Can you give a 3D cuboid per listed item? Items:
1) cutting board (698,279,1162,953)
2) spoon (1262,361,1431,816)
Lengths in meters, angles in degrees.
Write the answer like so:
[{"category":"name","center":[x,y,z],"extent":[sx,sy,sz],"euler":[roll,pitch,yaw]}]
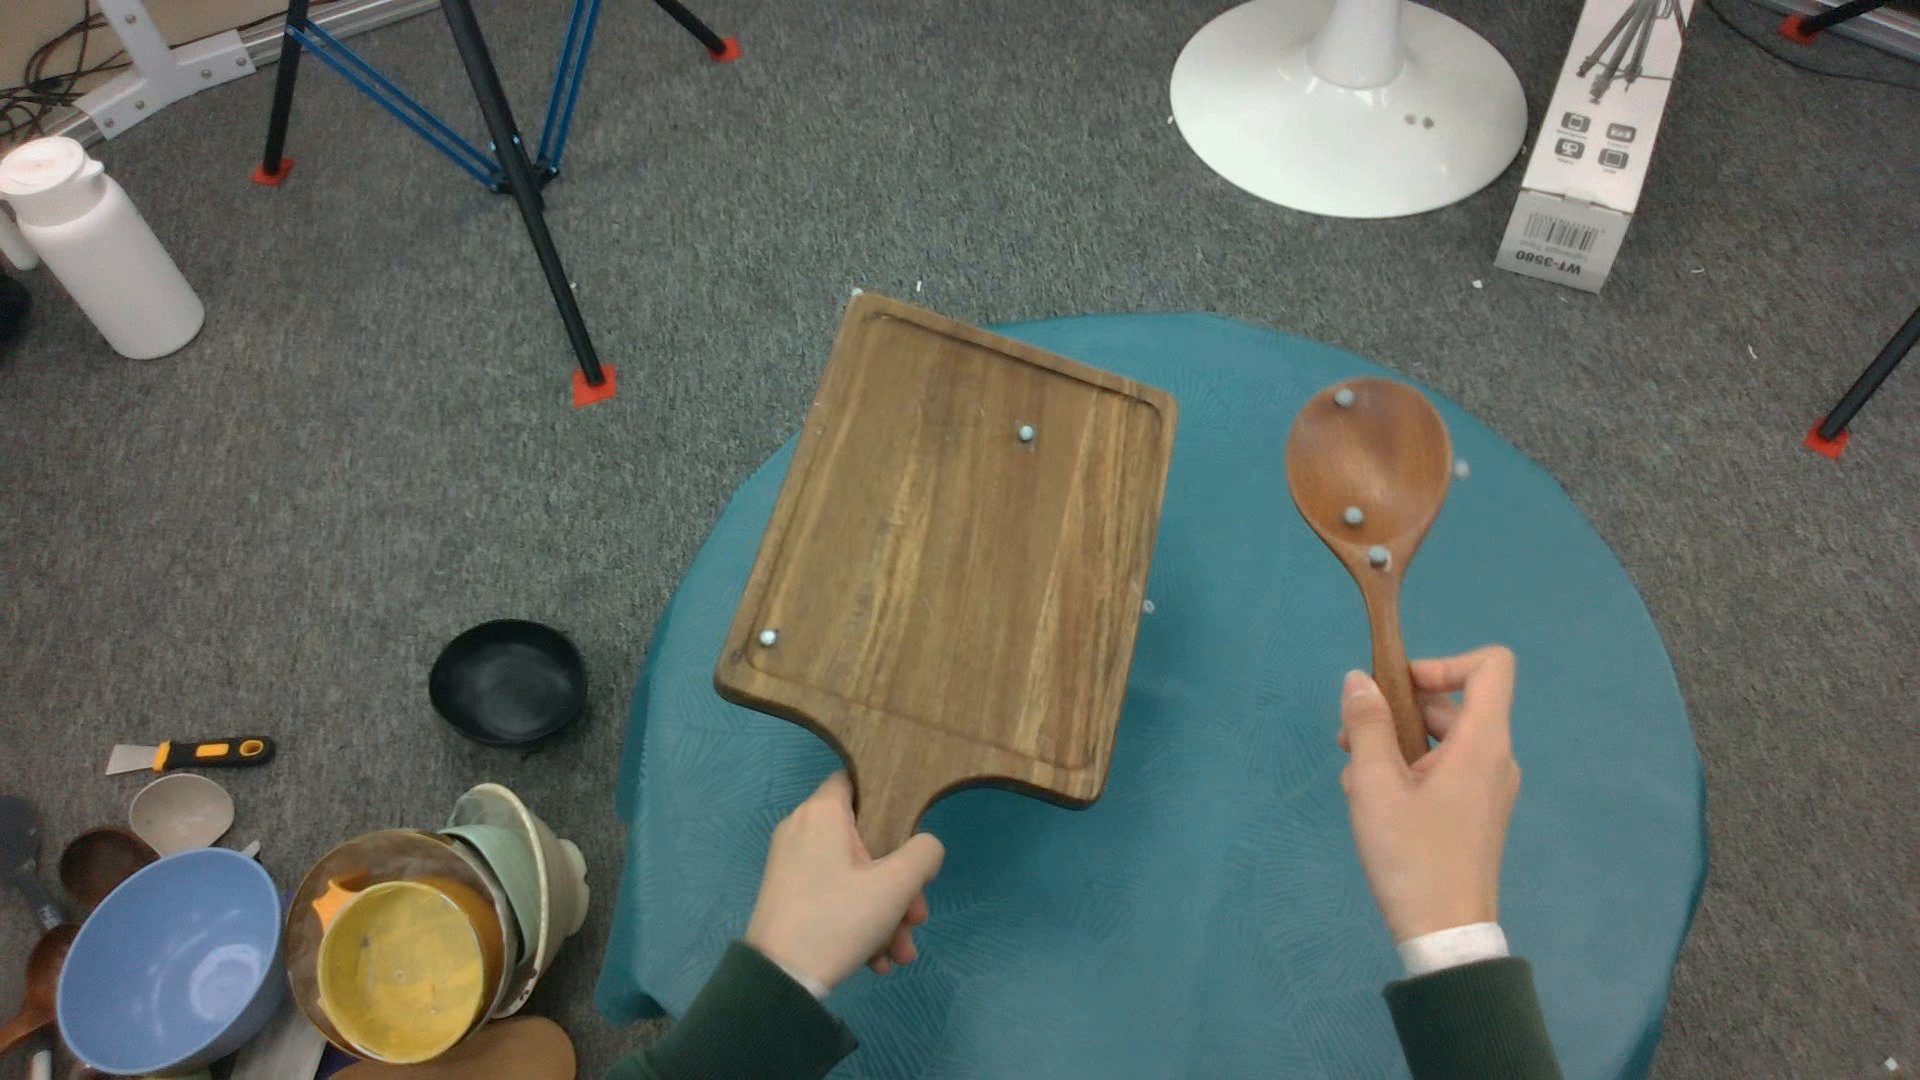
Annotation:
[{"category":"cutting board","center":[-0.016,0.031,0.693],"extent":[0.201,0.023,0.354],"euler":[18,60,-5]},{"category":"spoon","center":[0.179,0.015,0.613],"extent":[0.075,0.017,0.216],"euler":[-6,64,14]}]
